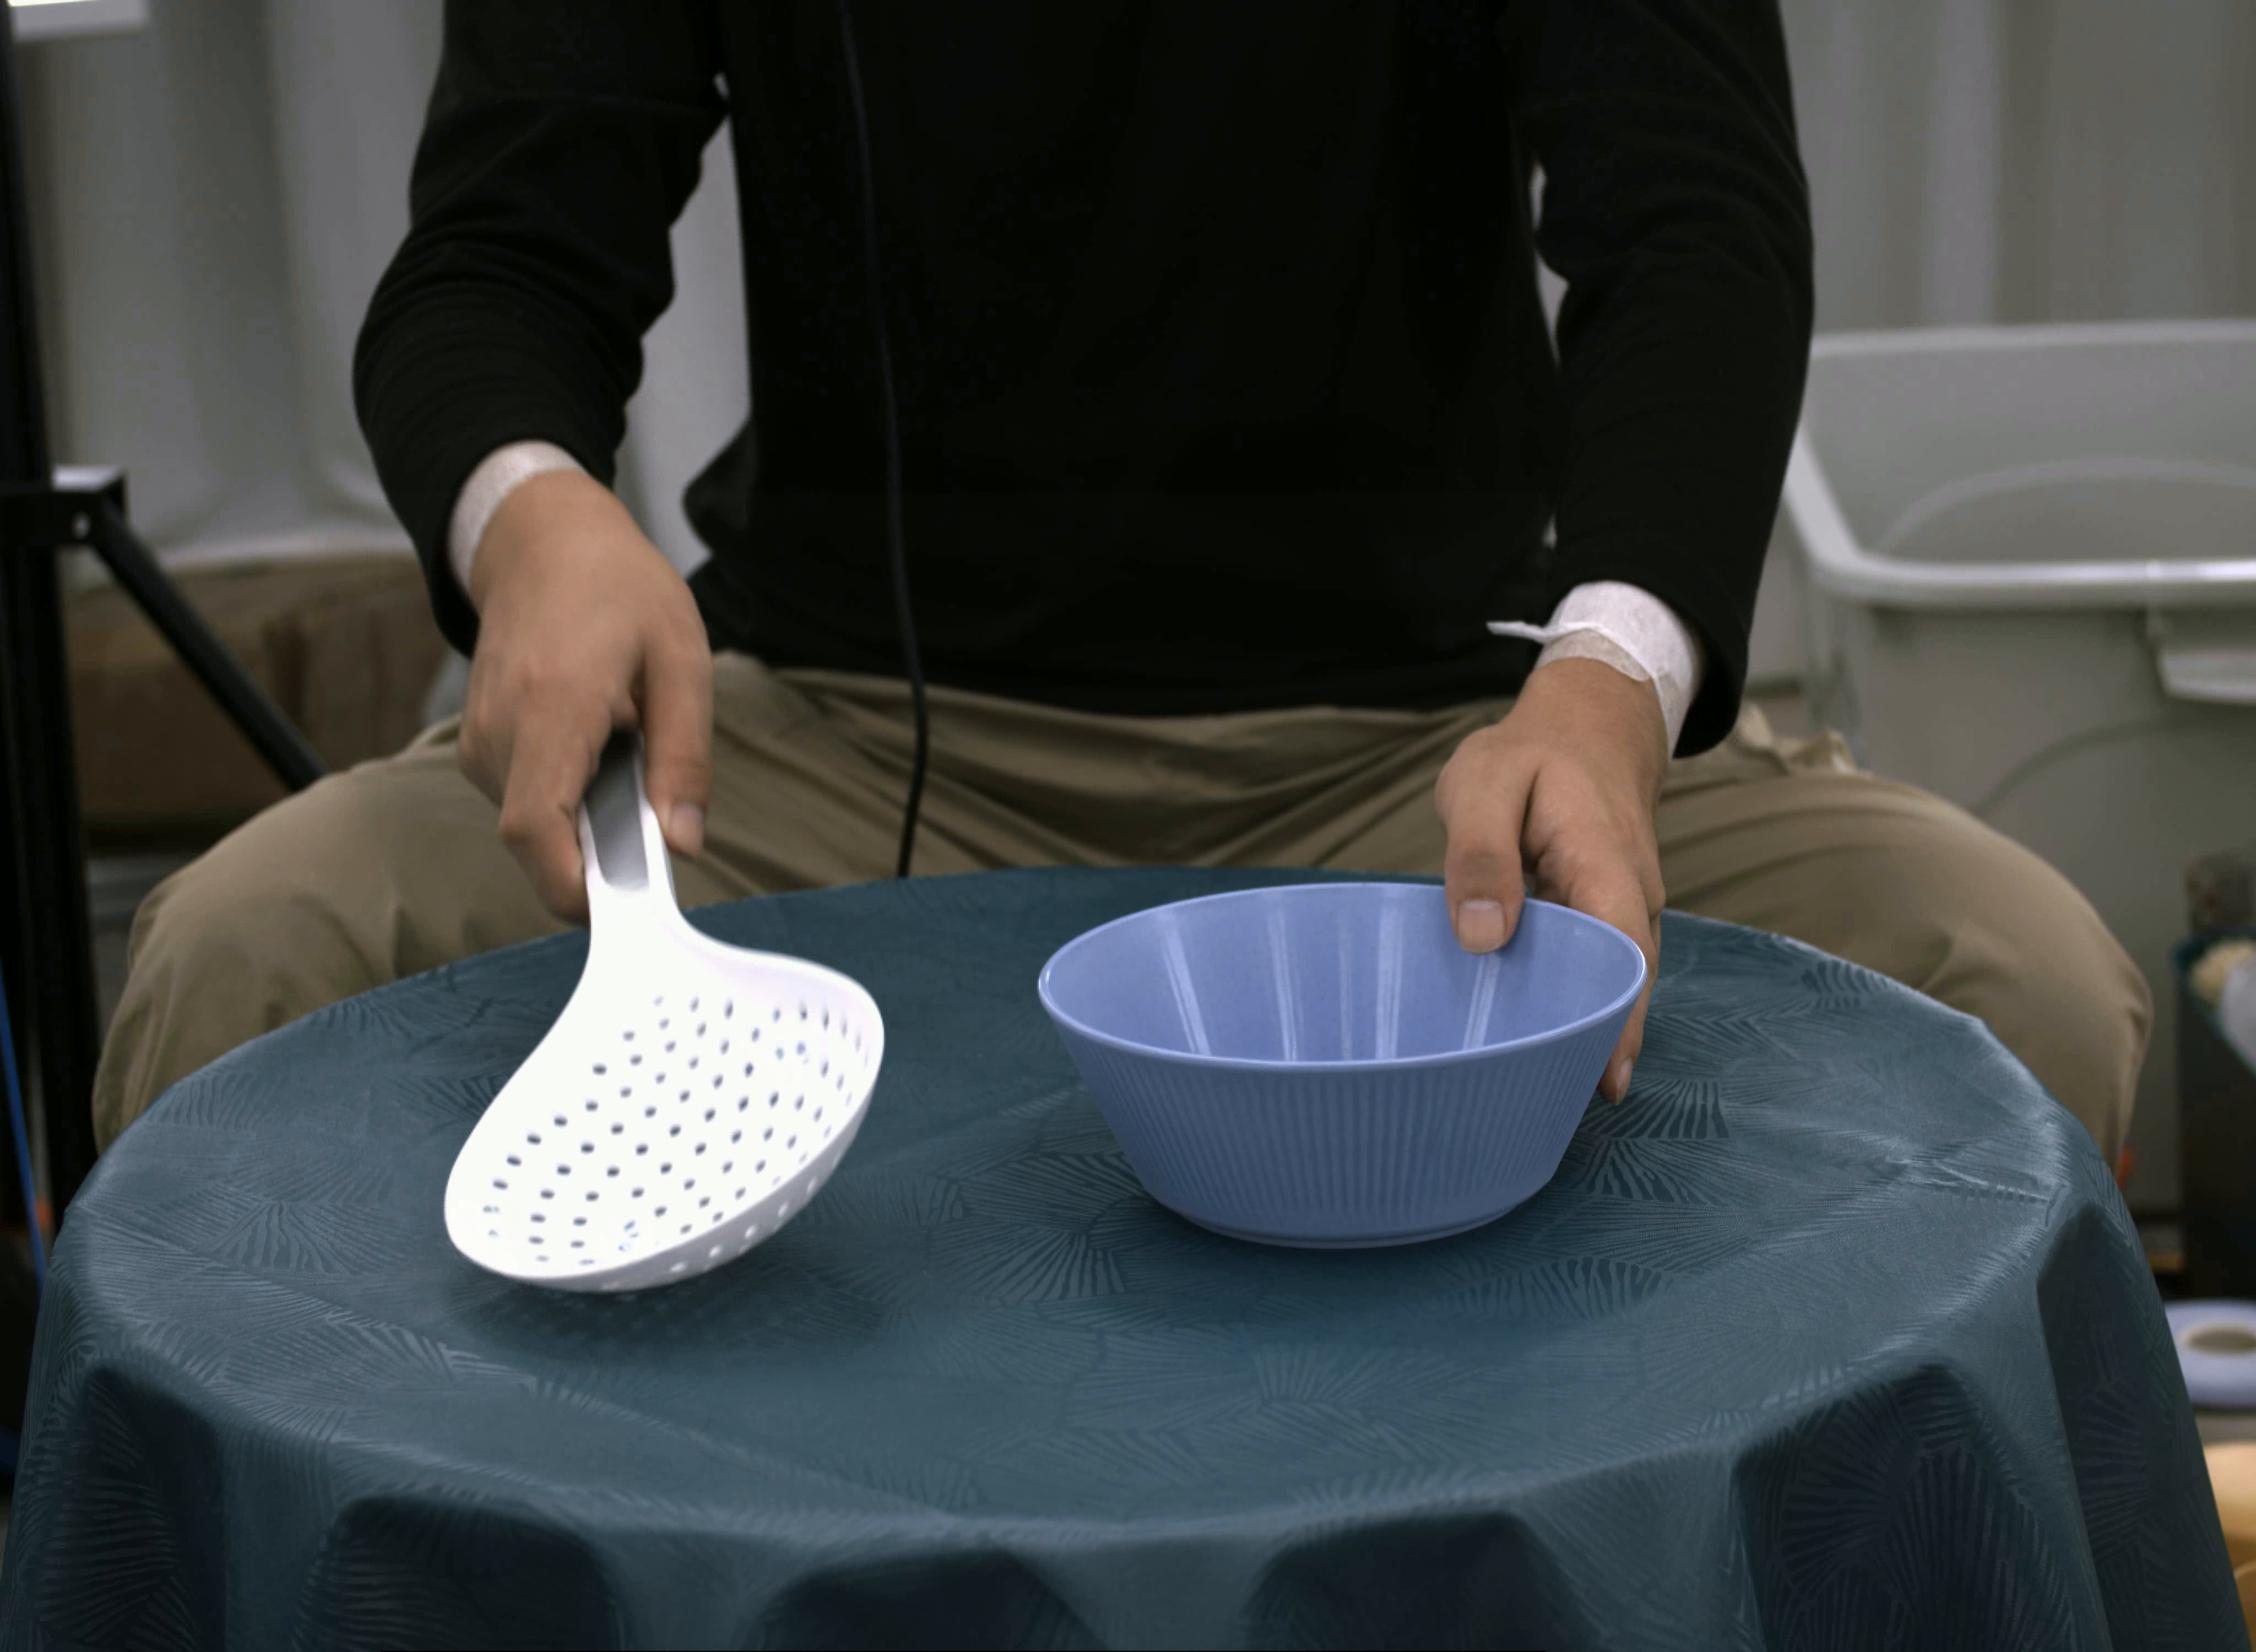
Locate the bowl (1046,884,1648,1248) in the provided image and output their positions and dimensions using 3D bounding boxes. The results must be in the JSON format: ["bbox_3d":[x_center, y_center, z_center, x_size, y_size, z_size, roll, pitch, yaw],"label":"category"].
[{"bbox_3d":[0.064,0.072,1.544,0.175,0.070,0.177,-2,15,-1],"label":"bowl"}]

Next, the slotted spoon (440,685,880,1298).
[{"bbox_3d":[-0.146,0.041,1.602,0.136,0.045,0.355,-25,32,3],"label":"slotted spoon"}]
